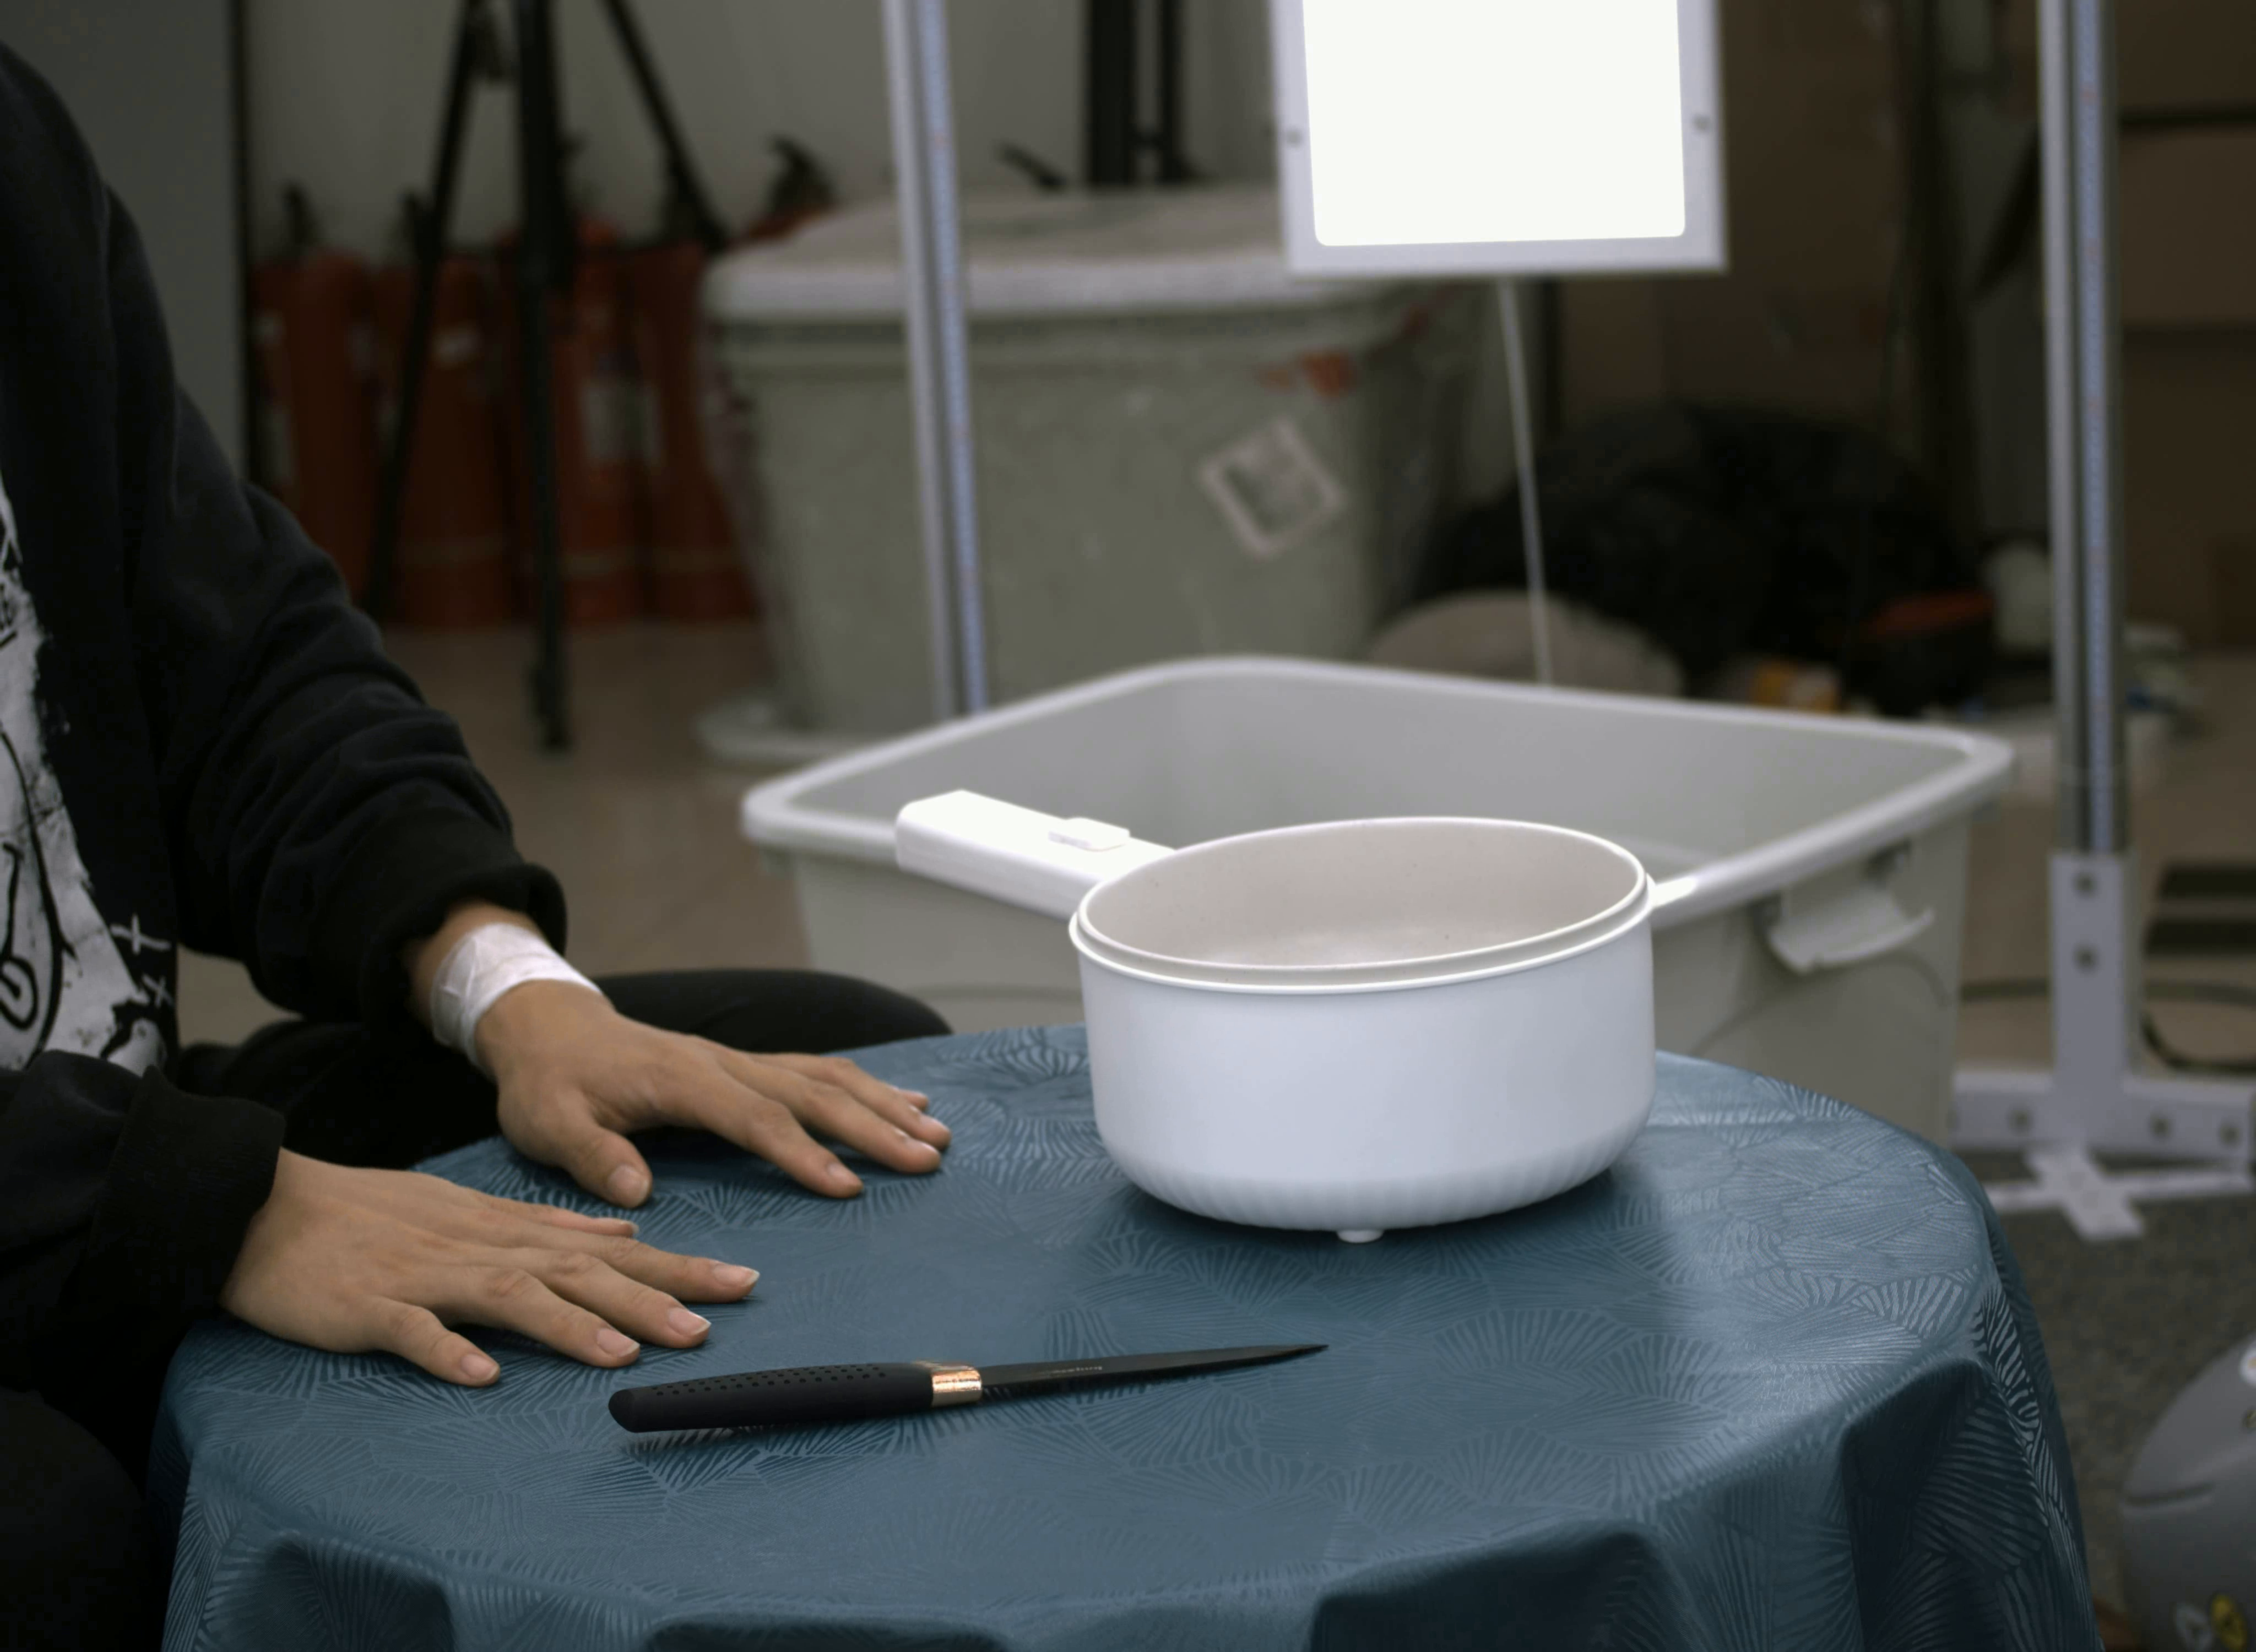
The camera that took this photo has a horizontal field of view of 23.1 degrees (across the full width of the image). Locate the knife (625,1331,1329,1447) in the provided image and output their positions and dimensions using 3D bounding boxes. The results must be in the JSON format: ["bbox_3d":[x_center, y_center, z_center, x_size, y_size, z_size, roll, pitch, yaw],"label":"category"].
[{"bbox_3d":[-0.045,0.173,1.711,0.223,0.017,0.026,-6,0,-8],"label":"knife"}]

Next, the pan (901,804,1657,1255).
[{"bbox_3d":[0.037,0.063,1.948,0.196,0.102,0.362,-17,17,-33],"label":"pan"}]
